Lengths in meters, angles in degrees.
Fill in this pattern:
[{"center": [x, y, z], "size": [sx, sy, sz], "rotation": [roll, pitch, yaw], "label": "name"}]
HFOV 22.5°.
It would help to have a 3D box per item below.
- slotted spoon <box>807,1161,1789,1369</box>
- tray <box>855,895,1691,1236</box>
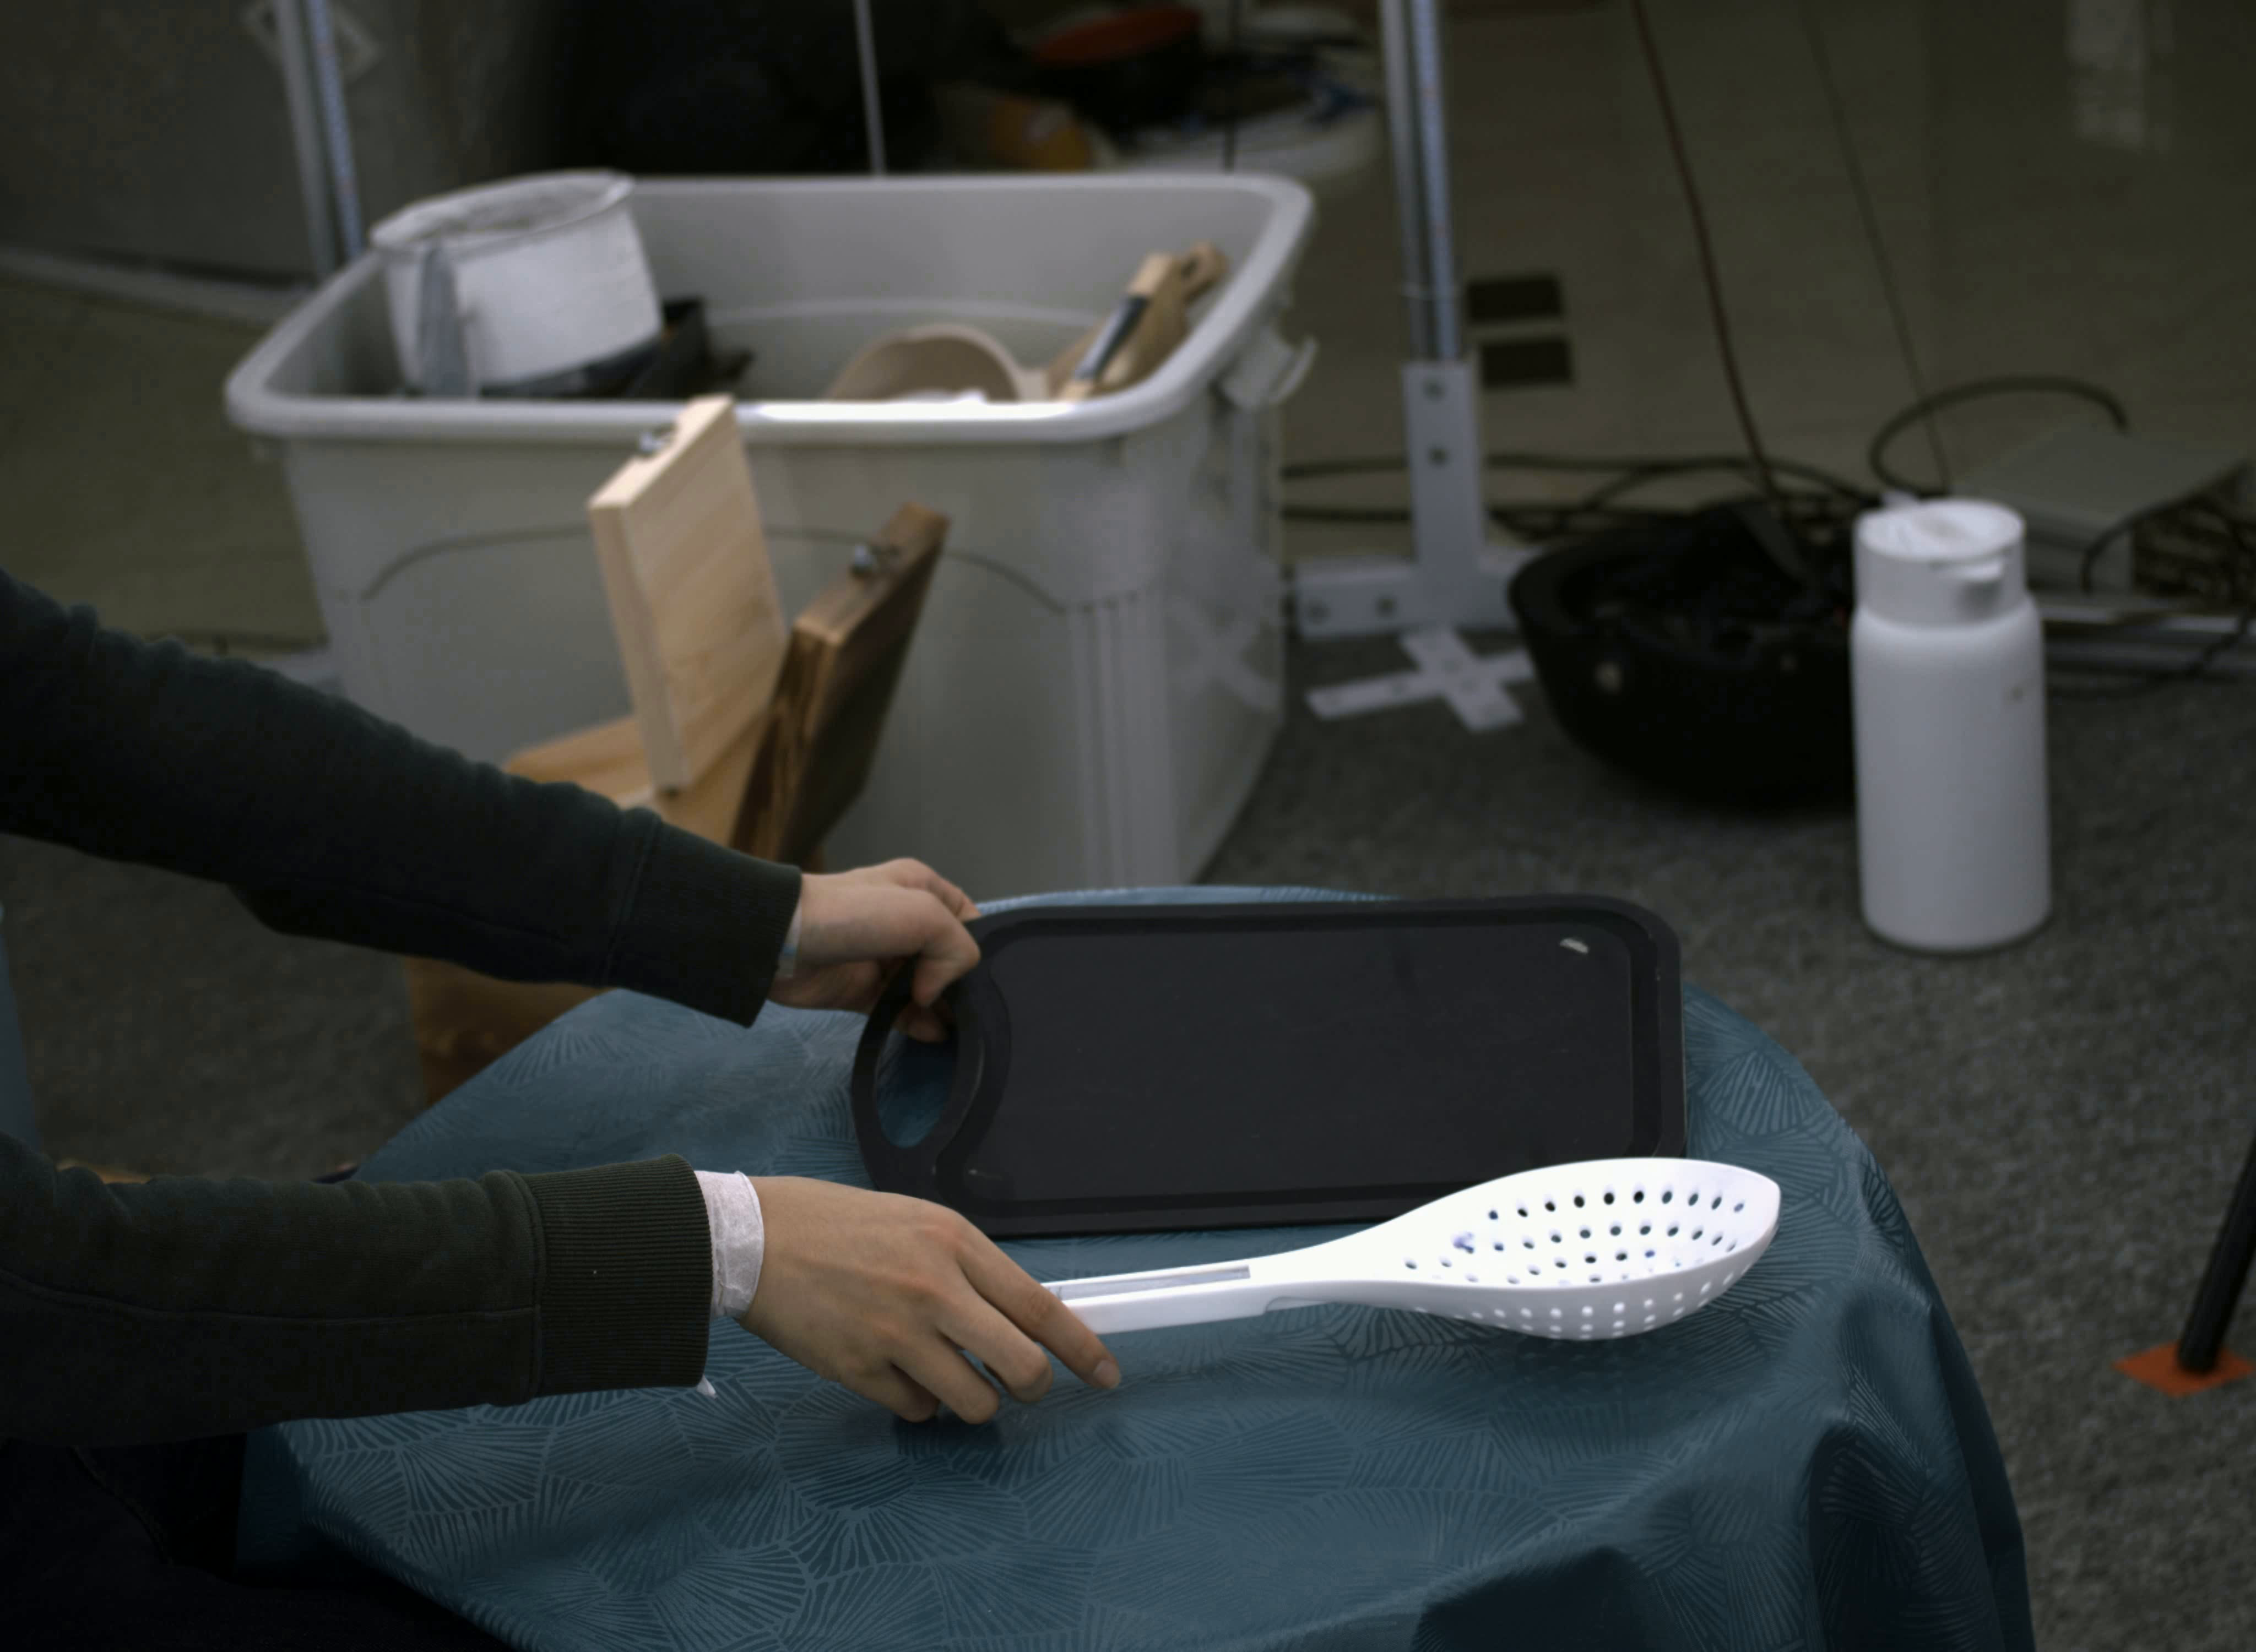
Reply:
[{"center": [0.060, 0.162, 2.014], "size": [0.349, 0.046, 0.135], "rotation": [-3, 15, 0], "label": "slotted spoon"}, {"center": [0.055, 0.090, 2.199], "size": [0.325, 0.010, 0.207], "rotation": [-3, 34, 7], "label": "tray"}]
